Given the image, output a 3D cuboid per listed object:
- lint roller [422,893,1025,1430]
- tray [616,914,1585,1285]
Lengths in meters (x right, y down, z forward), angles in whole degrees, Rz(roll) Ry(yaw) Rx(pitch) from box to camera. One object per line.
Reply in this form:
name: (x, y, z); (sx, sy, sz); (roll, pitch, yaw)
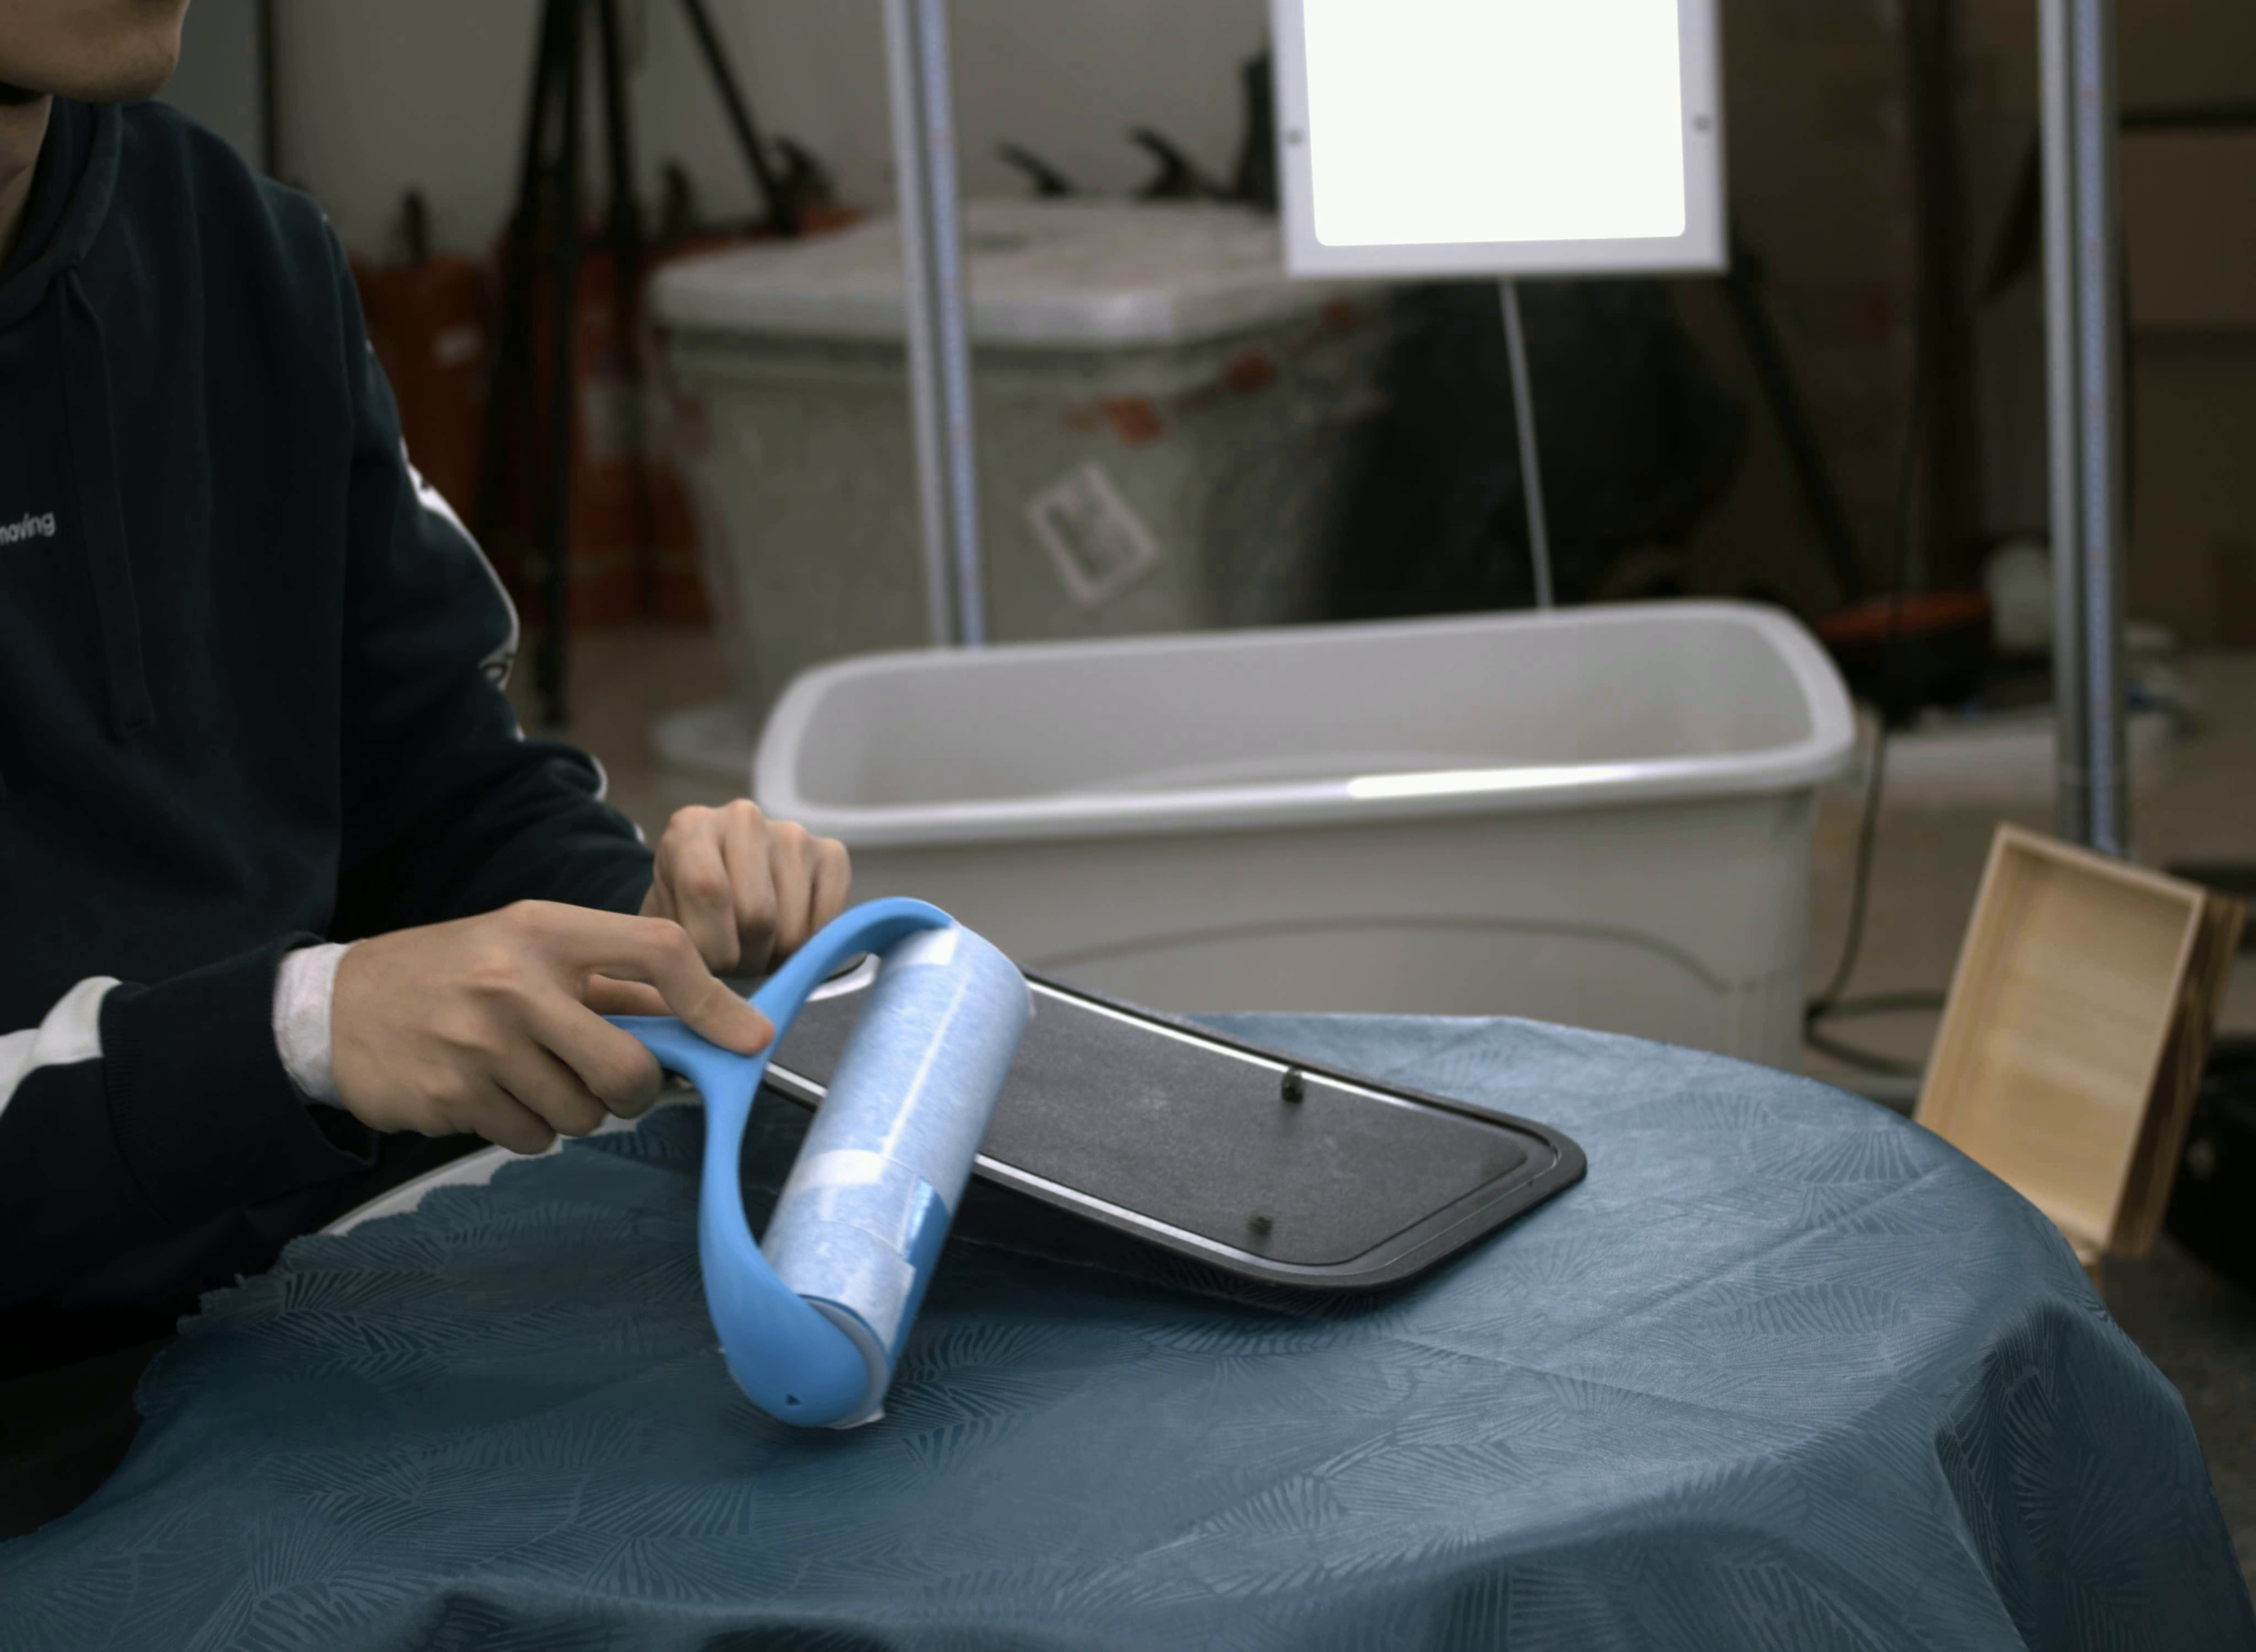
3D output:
lint roller: (-0.136, 0.092, 1.757); (0.180, 0.068, 0.226); (14, 39, 2)
tray: (-0.016, 0.086, 1.887); (0.330, 0.010, 0.206); (19, 19, 28)
